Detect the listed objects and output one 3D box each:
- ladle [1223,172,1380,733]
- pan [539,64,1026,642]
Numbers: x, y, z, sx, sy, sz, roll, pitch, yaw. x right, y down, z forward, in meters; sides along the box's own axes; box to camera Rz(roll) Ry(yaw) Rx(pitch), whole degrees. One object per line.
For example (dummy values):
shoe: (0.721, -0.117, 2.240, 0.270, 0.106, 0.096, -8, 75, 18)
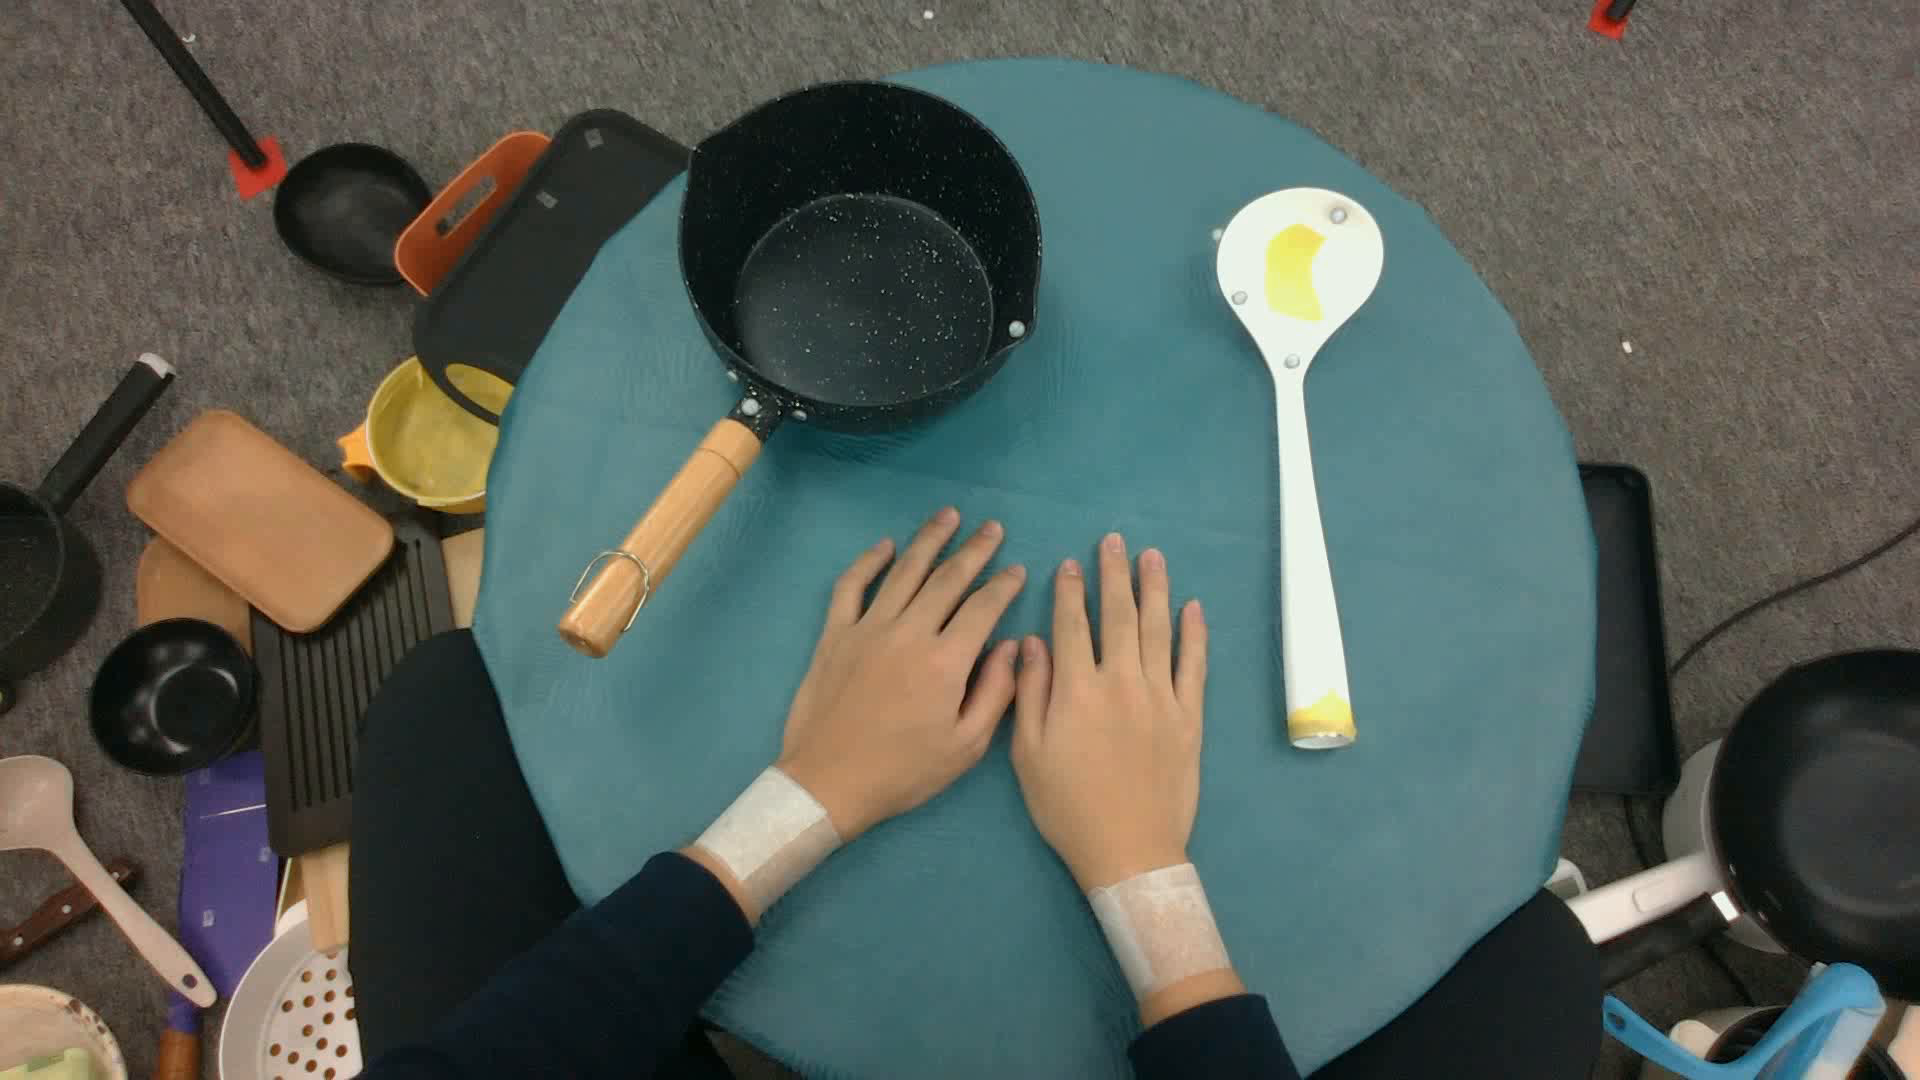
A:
ladle: (0.184, -0.048, 0.731, 0.090, 0.070, 0.293, 4, 74, -10)
pan: (-0.097, -0.085, 0.701, 0.207, 0.108, 0.344, 28, 72, 4)
